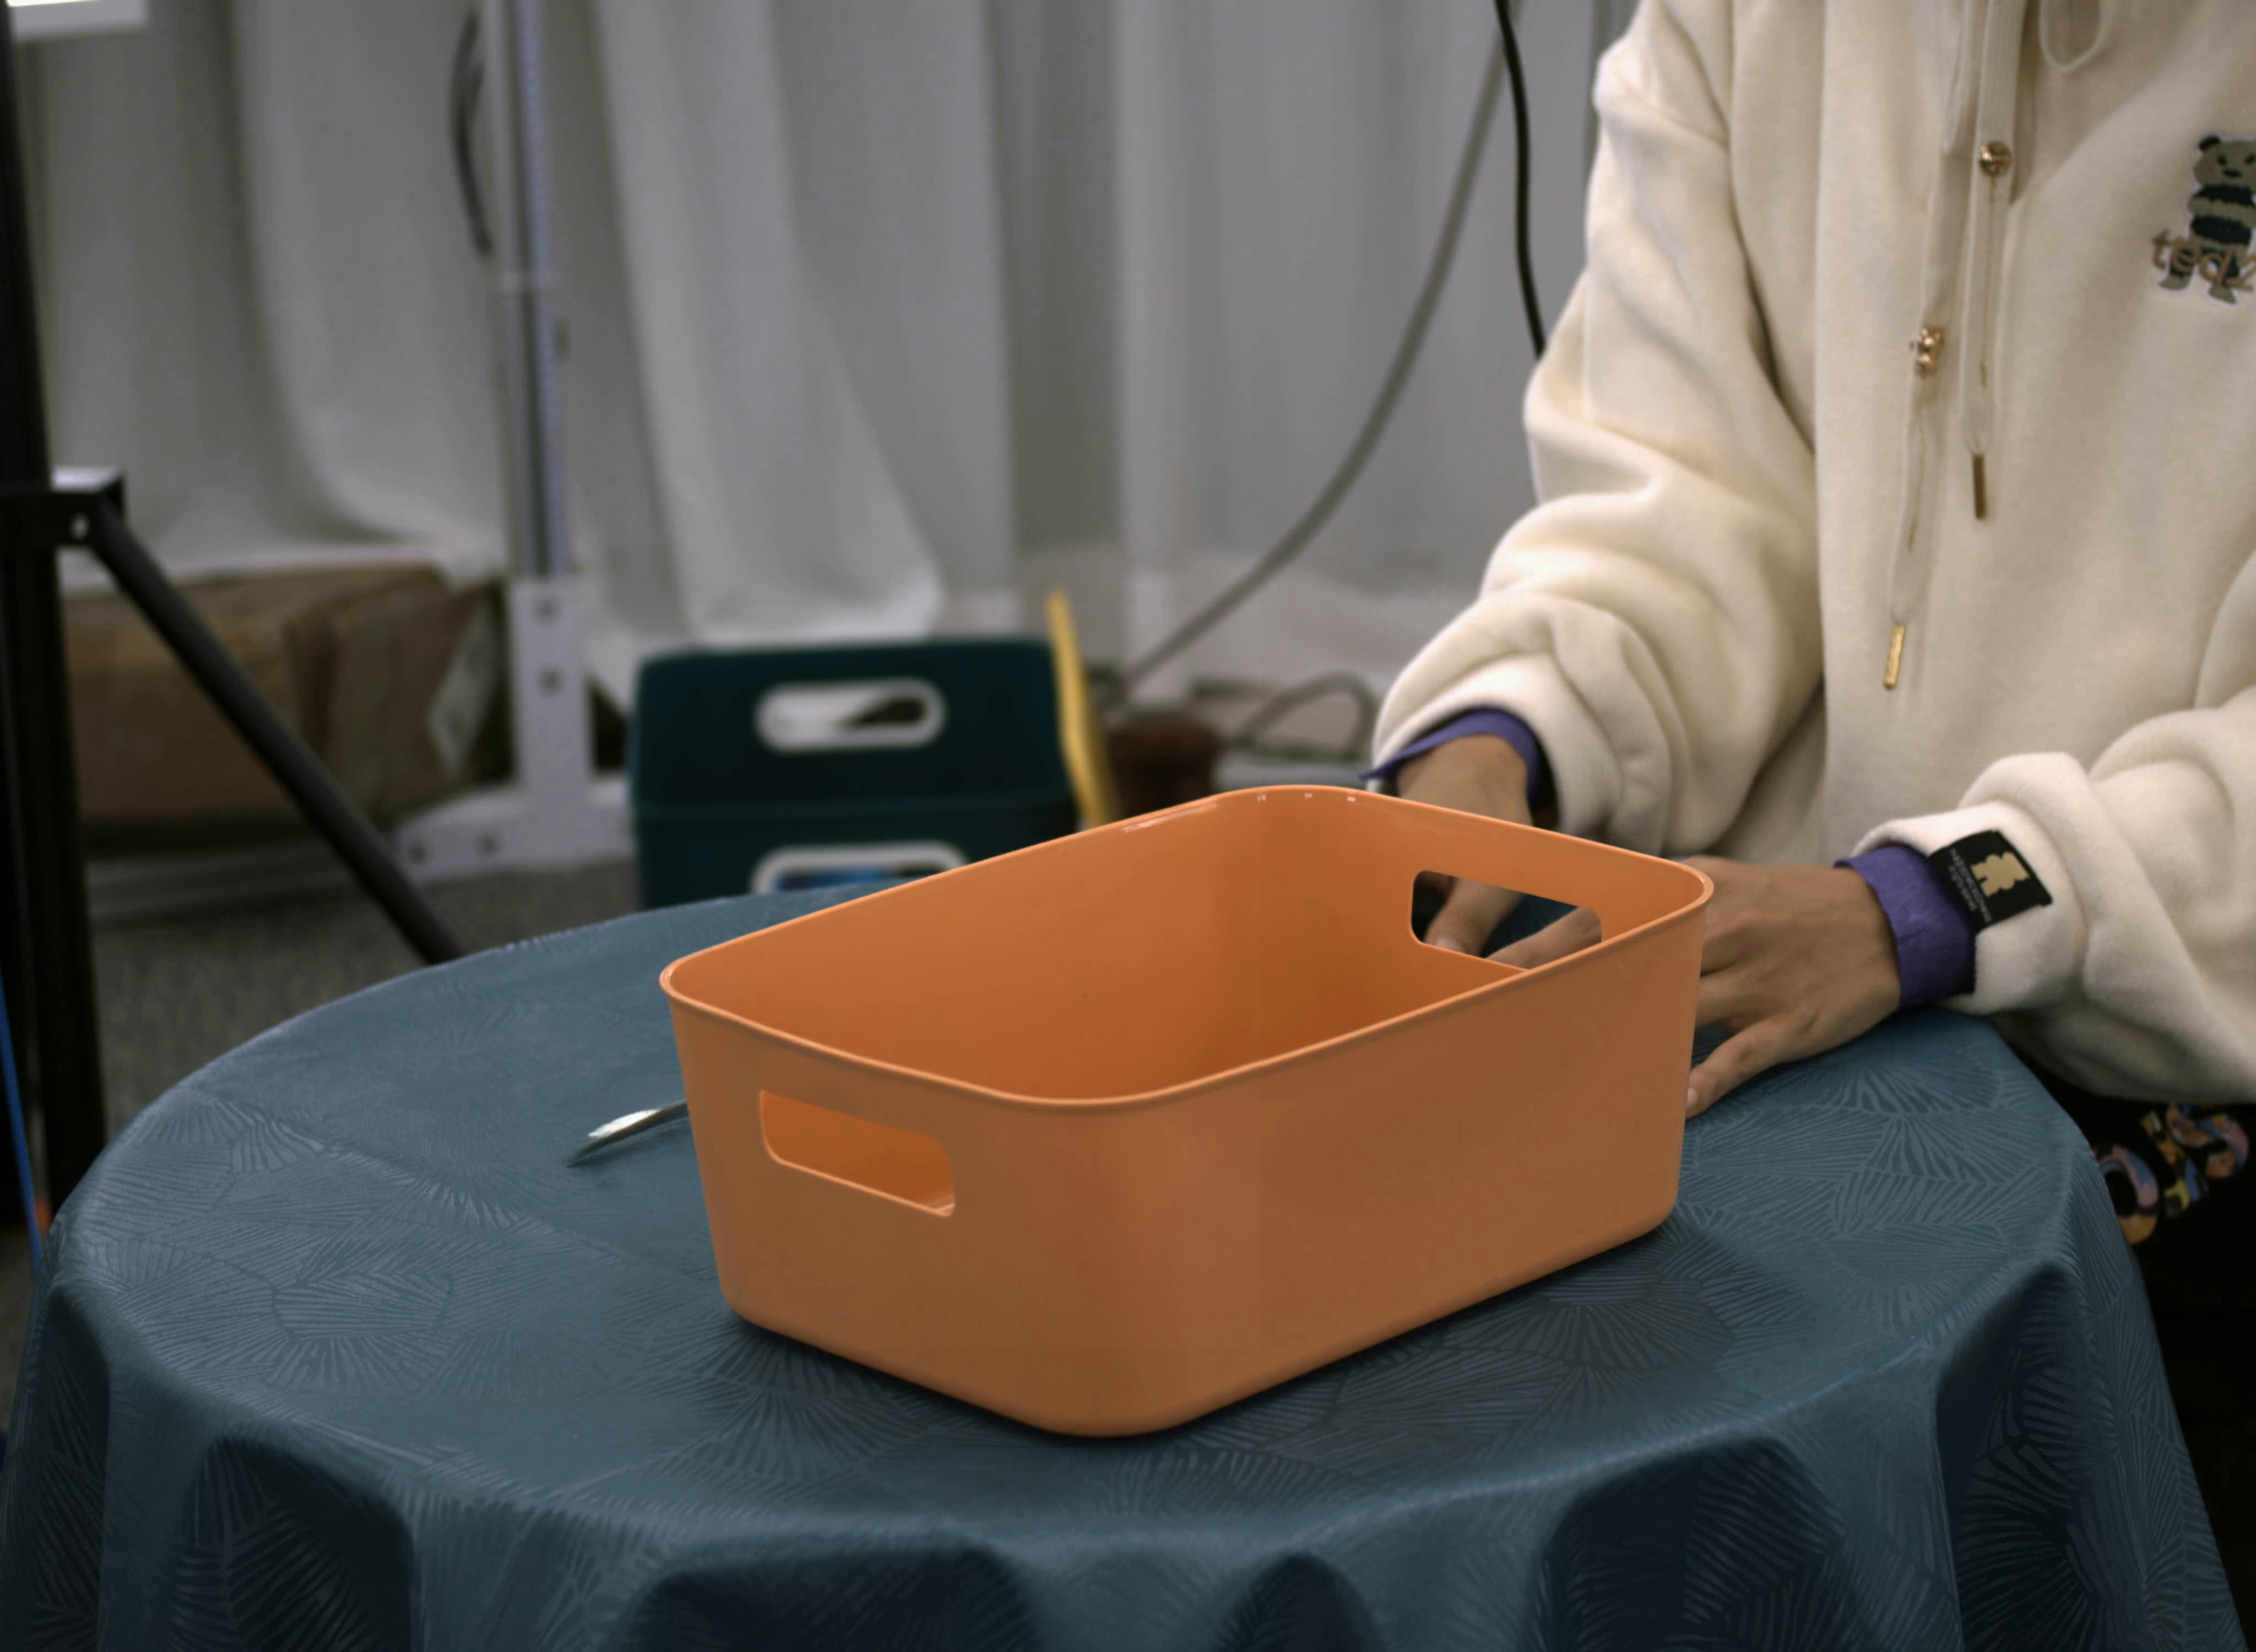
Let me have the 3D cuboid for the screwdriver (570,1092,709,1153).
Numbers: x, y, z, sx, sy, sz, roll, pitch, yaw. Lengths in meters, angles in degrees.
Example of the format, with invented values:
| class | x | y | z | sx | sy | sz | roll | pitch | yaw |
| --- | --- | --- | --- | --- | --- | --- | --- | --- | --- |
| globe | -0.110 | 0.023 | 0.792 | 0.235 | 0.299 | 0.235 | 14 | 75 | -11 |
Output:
| class | x | y | z | sx | sy | sz | roll | pitch | yaw |
| --- | --- | --- | --- | --- | --- | --- | --- | --- | --- |
| screwdriver | -0.098 | 0.071 | 1.668 | 0.193 | 0.031 | 0.032 | -18 | 22 | -36 |

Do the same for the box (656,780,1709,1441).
| class | x | y | z | sx | sy | sz | roll | pitch | yaw |
| --- | --- | --- | --- | --- | --- | --- | --- | --- | --- |
| box | 0.021 | 0.075 | 1.478 | 0.267 | 0.102 | 0.204 | -17 | 21 | -41 |
